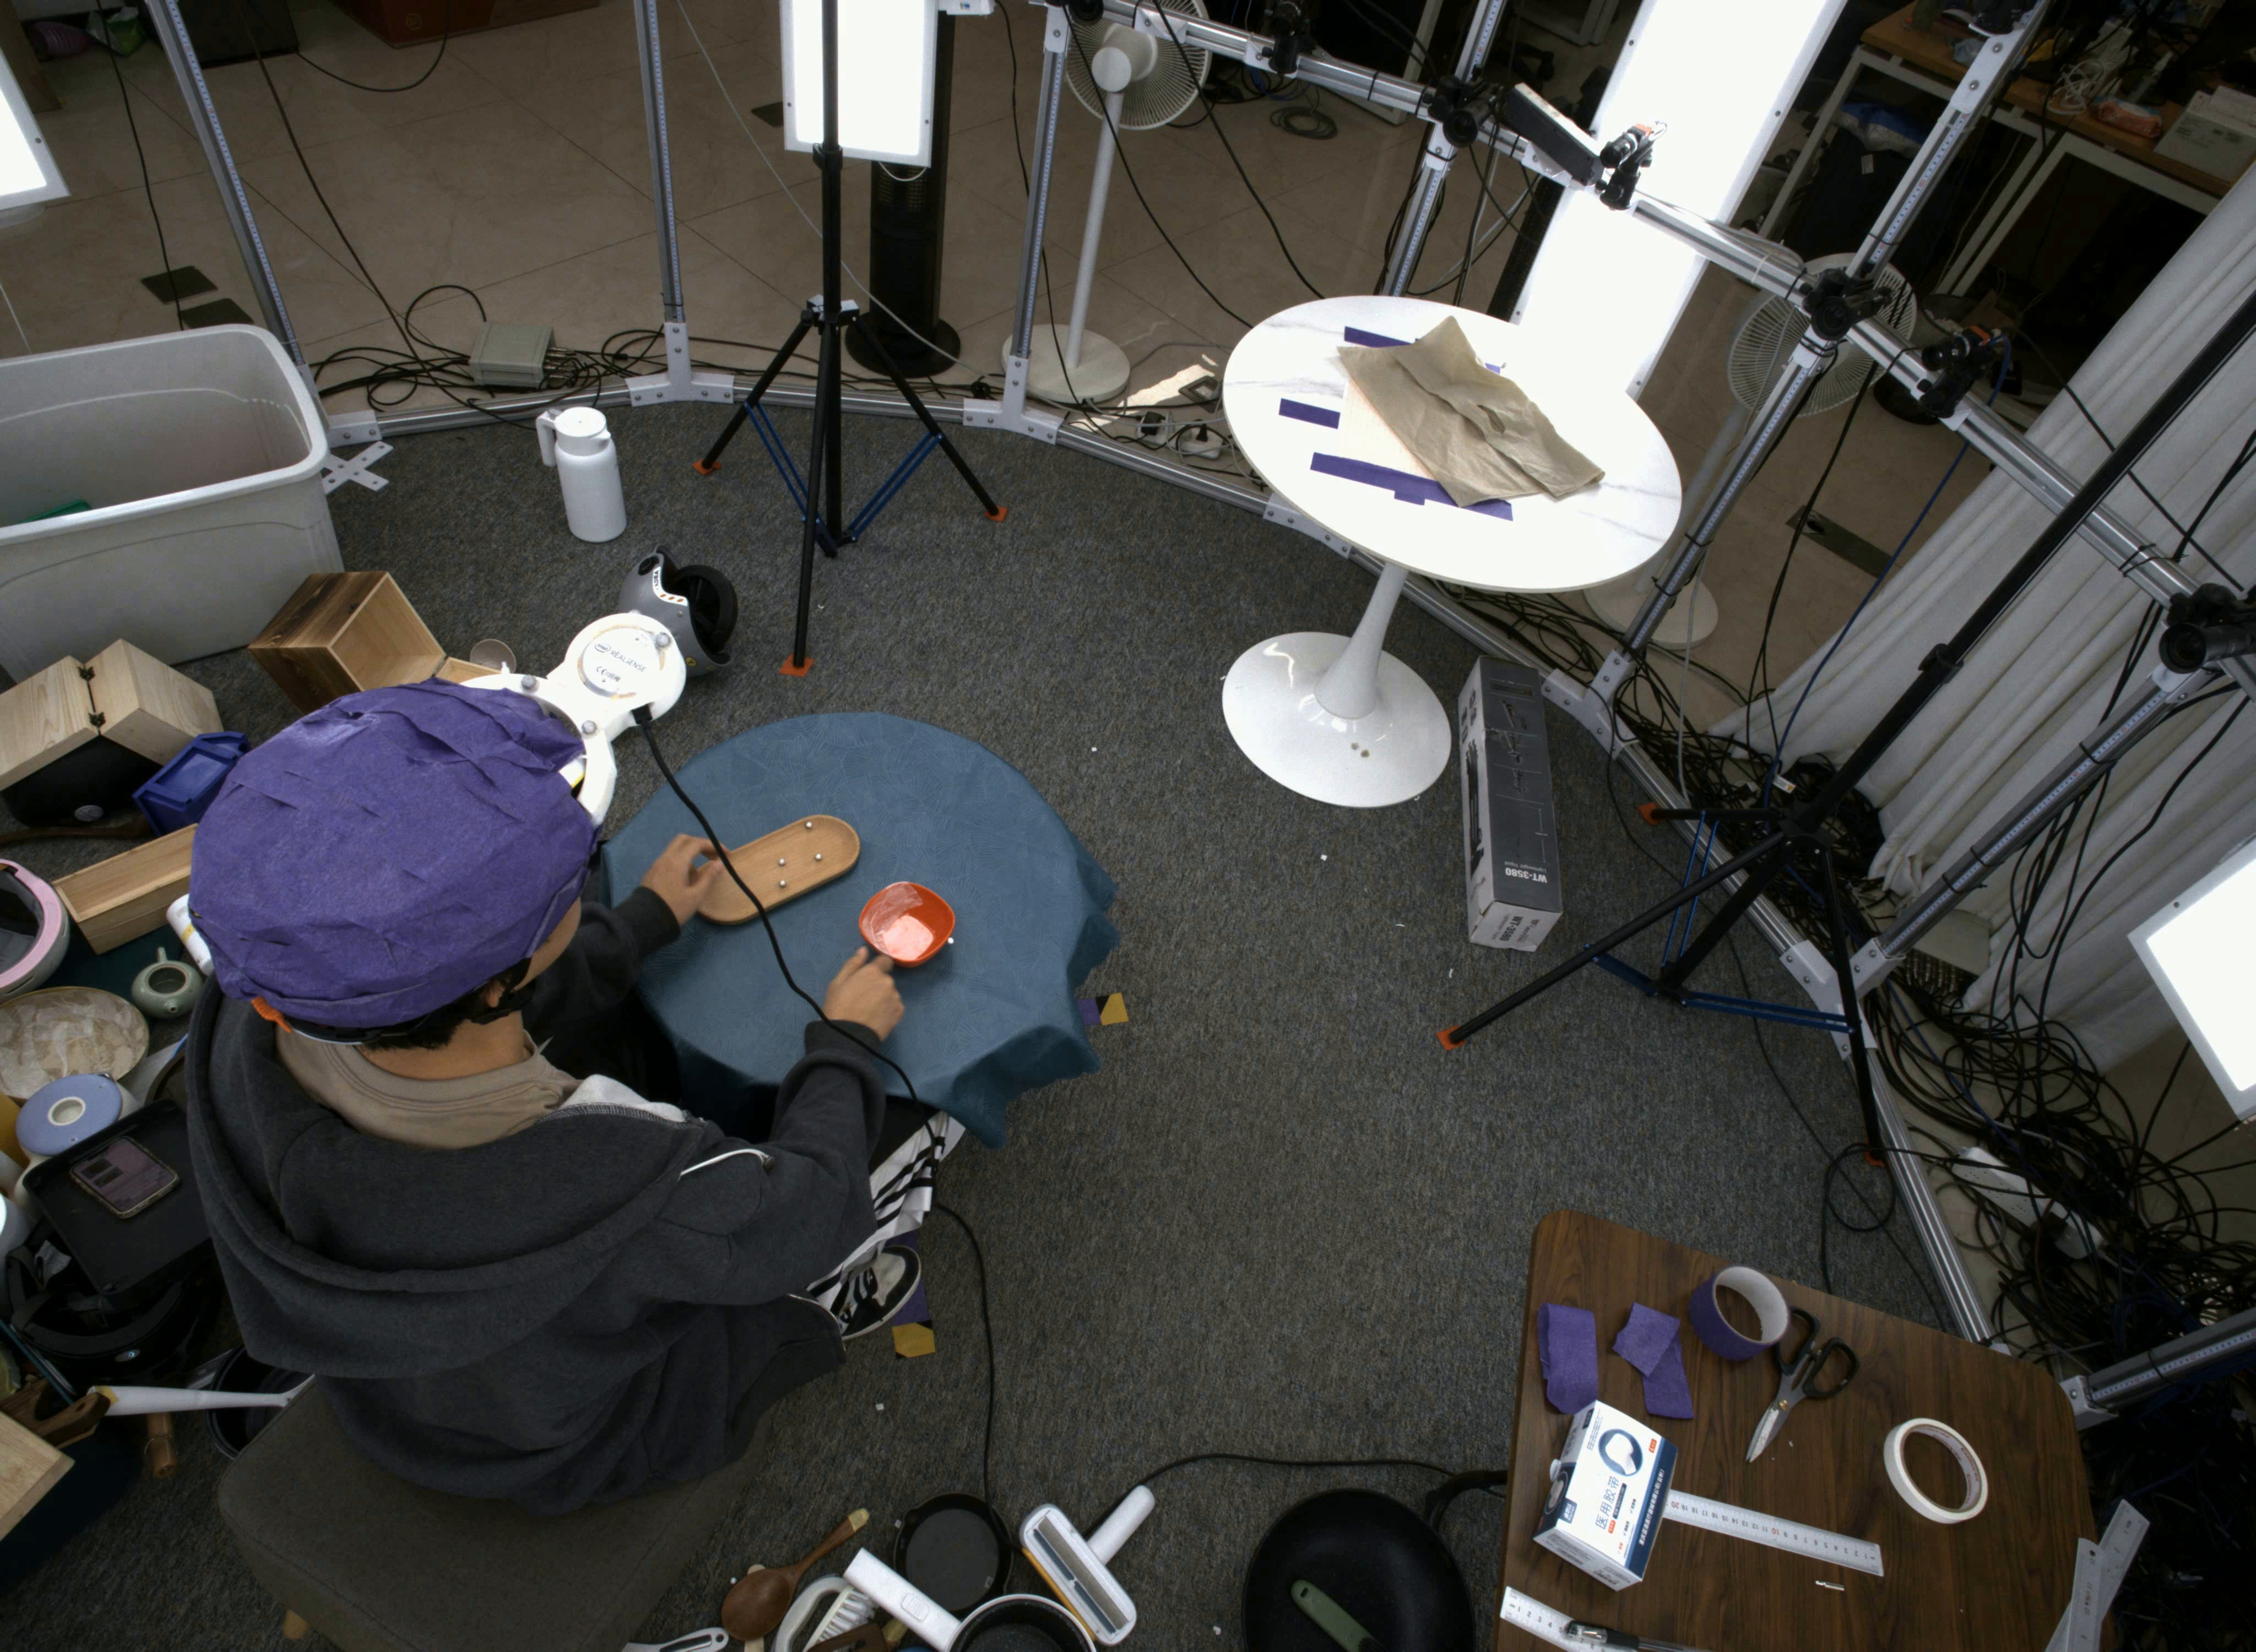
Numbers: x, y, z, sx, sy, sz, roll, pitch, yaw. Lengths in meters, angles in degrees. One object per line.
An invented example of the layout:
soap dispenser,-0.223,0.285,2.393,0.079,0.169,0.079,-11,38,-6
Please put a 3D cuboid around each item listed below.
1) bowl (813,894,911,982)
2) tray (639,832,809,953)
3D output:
bowl,-0.330,0.145,1.610,0.119,0.052,0.117,8,52,-9
tray,-0.510,0.081,1.636,0.232,0.021,0.099,-34,67,-31
